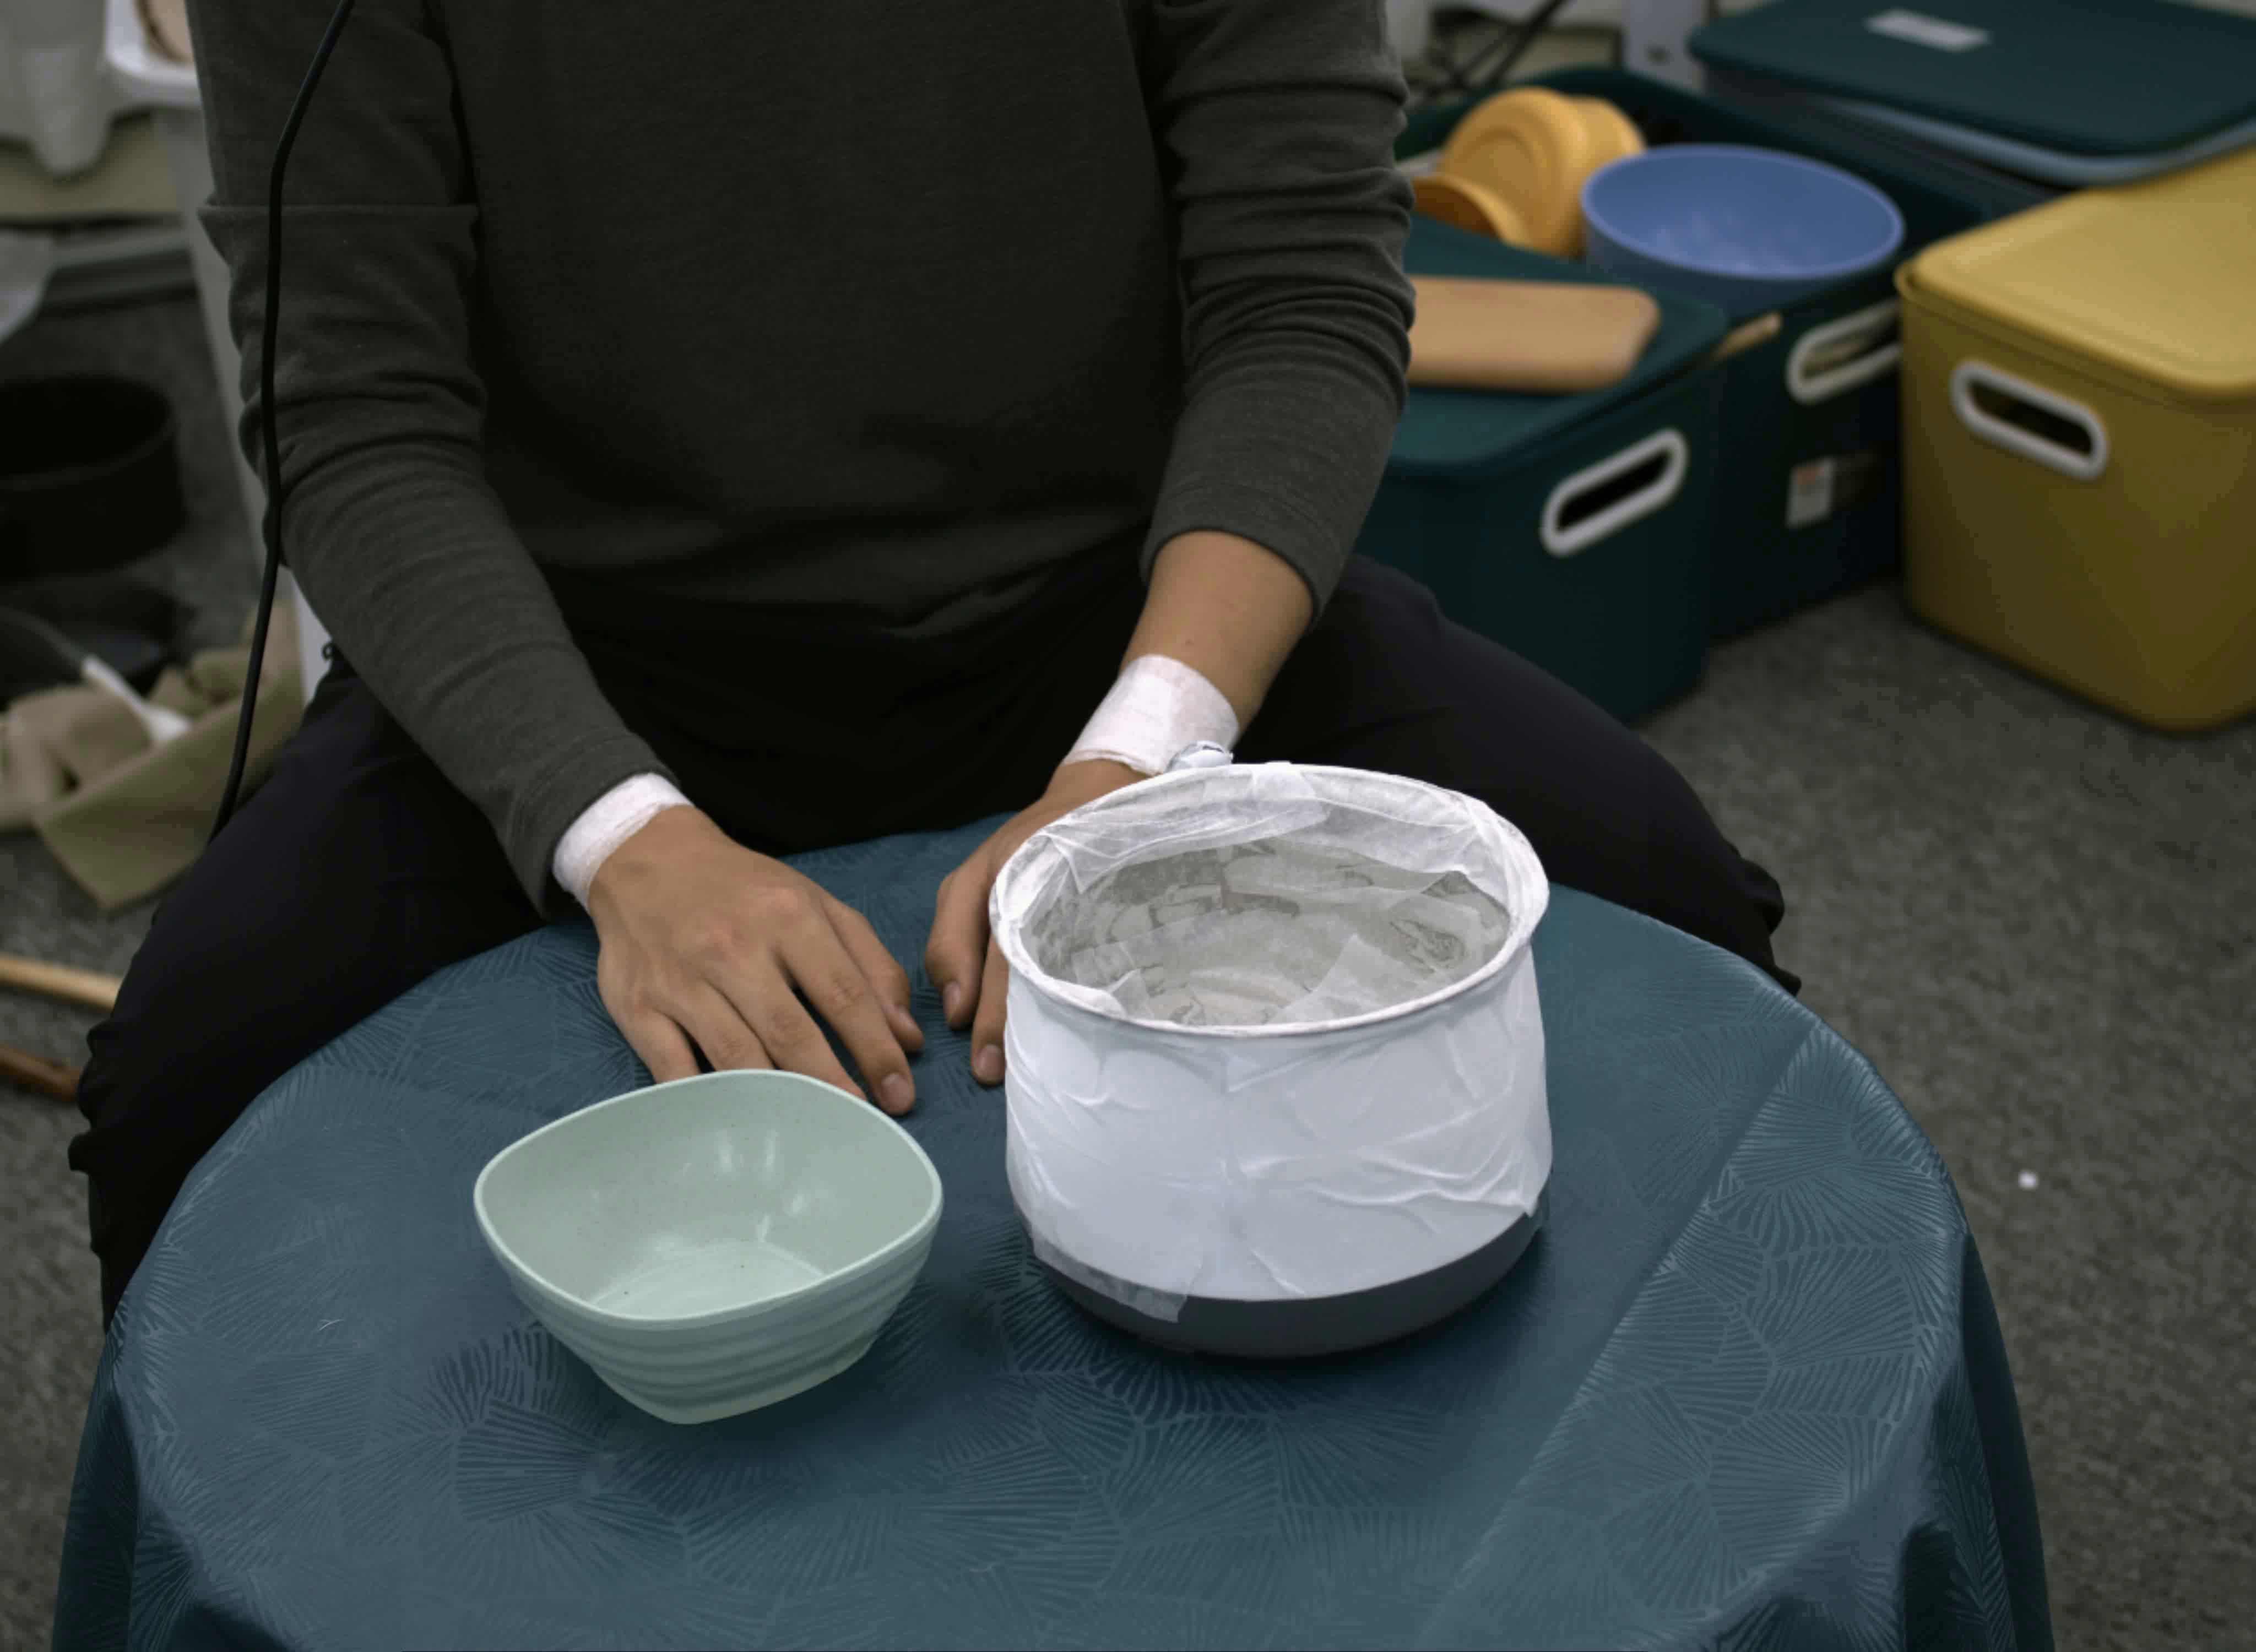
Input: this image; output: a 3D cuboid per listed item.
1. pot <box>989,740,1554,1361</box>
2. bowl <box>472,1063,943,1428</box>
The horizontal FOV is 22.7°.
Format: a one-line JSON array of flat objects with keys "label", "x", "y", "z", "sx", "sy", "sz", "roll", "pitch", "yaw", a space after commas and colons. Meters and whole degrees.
[{"label": "pot", "x": 0.042, "y": 0.065, "z": 1.822, "sx": 0.178, "sy": 0.135, "sz": 0.236, "roll": -8, "pitch": 27, "yaw": -10}, {"label": "bowl", "x": -0.132, "y": 0.139, "z": 1.779, "sx": 0.151, "sy": 0.058, "sz": 0.154, "roll": -1, "pitch": 29, "yaw": 1}]
